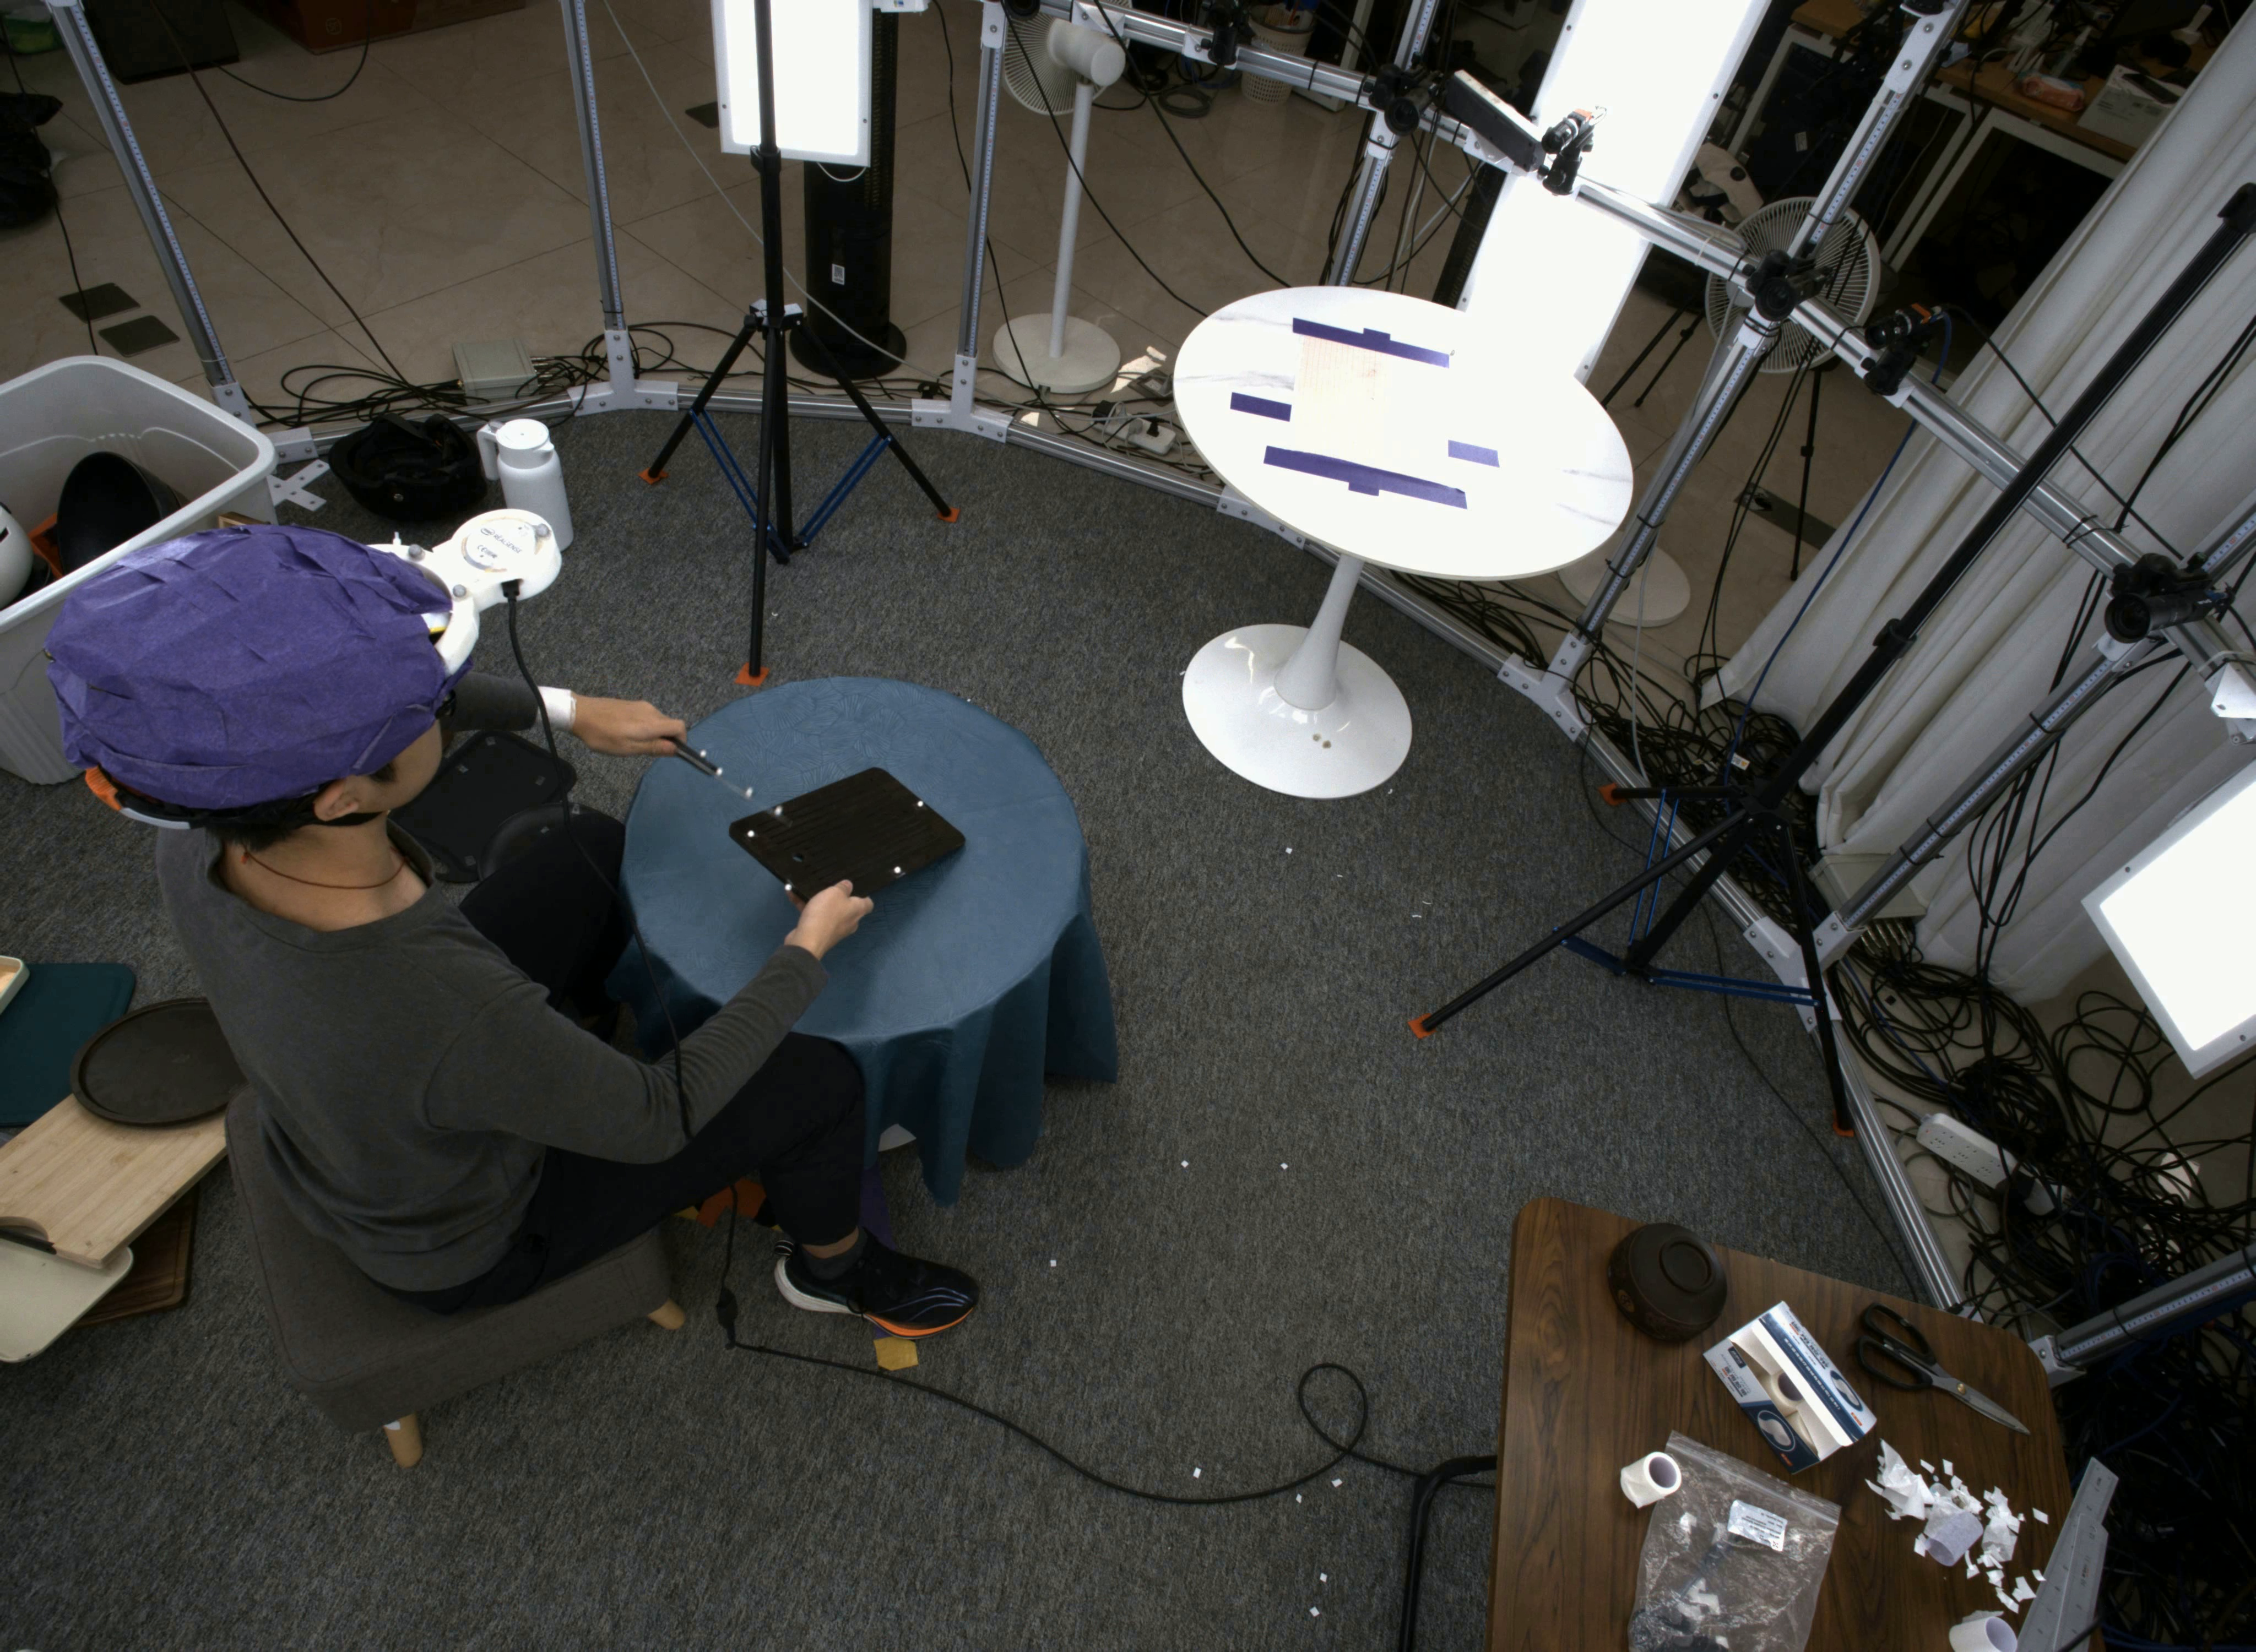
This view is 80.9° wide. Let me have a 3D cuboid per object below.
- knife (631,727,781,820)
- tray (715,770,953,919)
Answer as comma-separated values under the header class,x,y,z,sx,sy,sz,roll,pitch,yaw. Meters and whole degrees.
class,x,y,z,sx,sy,sz,roll,pitch,yaw
knife,-0.514,-0.064,1.558,0.234,0.025,0.016,29,87,10
tray,-0.365,0.018,1.647,0.167,0.019,0.307,38,29,11
